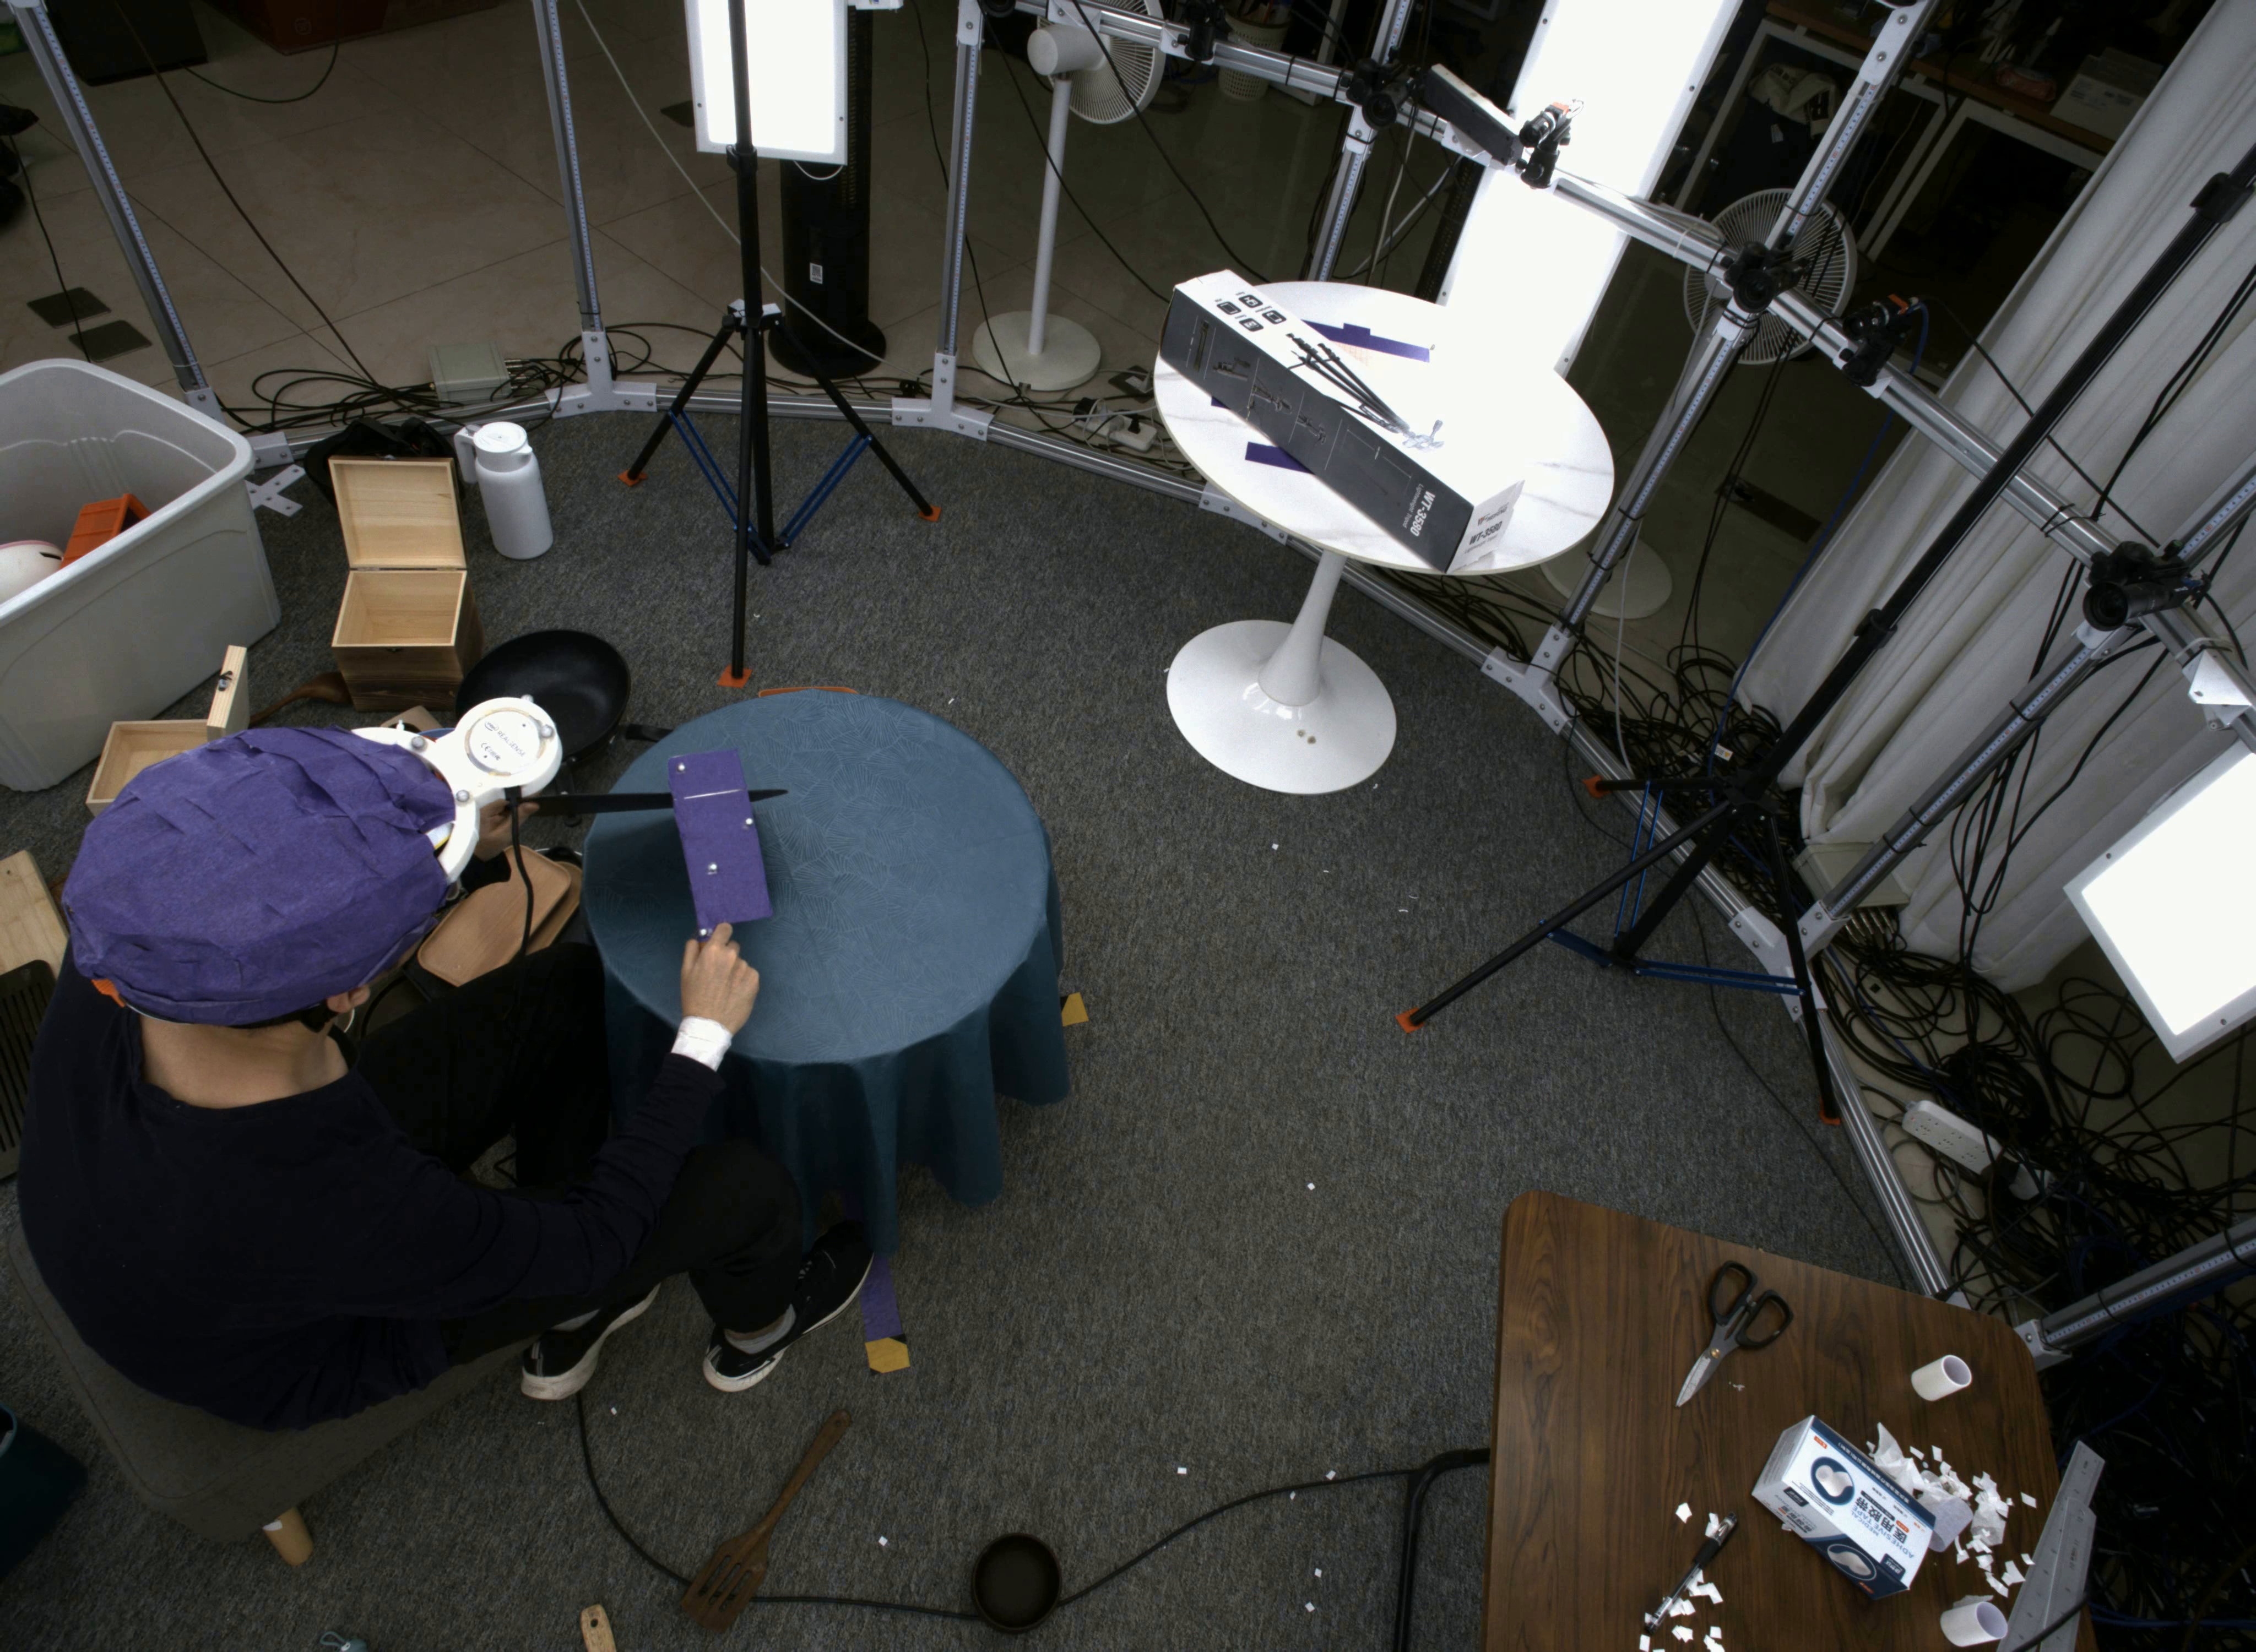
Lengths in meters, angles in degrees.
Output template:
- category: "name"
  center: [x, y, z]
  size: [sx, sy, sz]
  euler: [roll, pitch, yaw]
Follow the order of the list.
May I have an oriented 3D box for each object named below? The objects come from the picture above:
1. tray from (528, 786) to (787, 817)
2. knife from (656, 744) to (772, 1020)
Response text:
- category: "tray"
  center: [-0.592, -0.033, 1.570]
  size: [0.330, 0.206, 0.010]
  euler: [-3, 86, -33]
- category: "knife"
  center: [-0.465, 0.058, 1.499]
  size: [0.105, 0.031, 0.318]
  euler: [-11, 87, -37]
